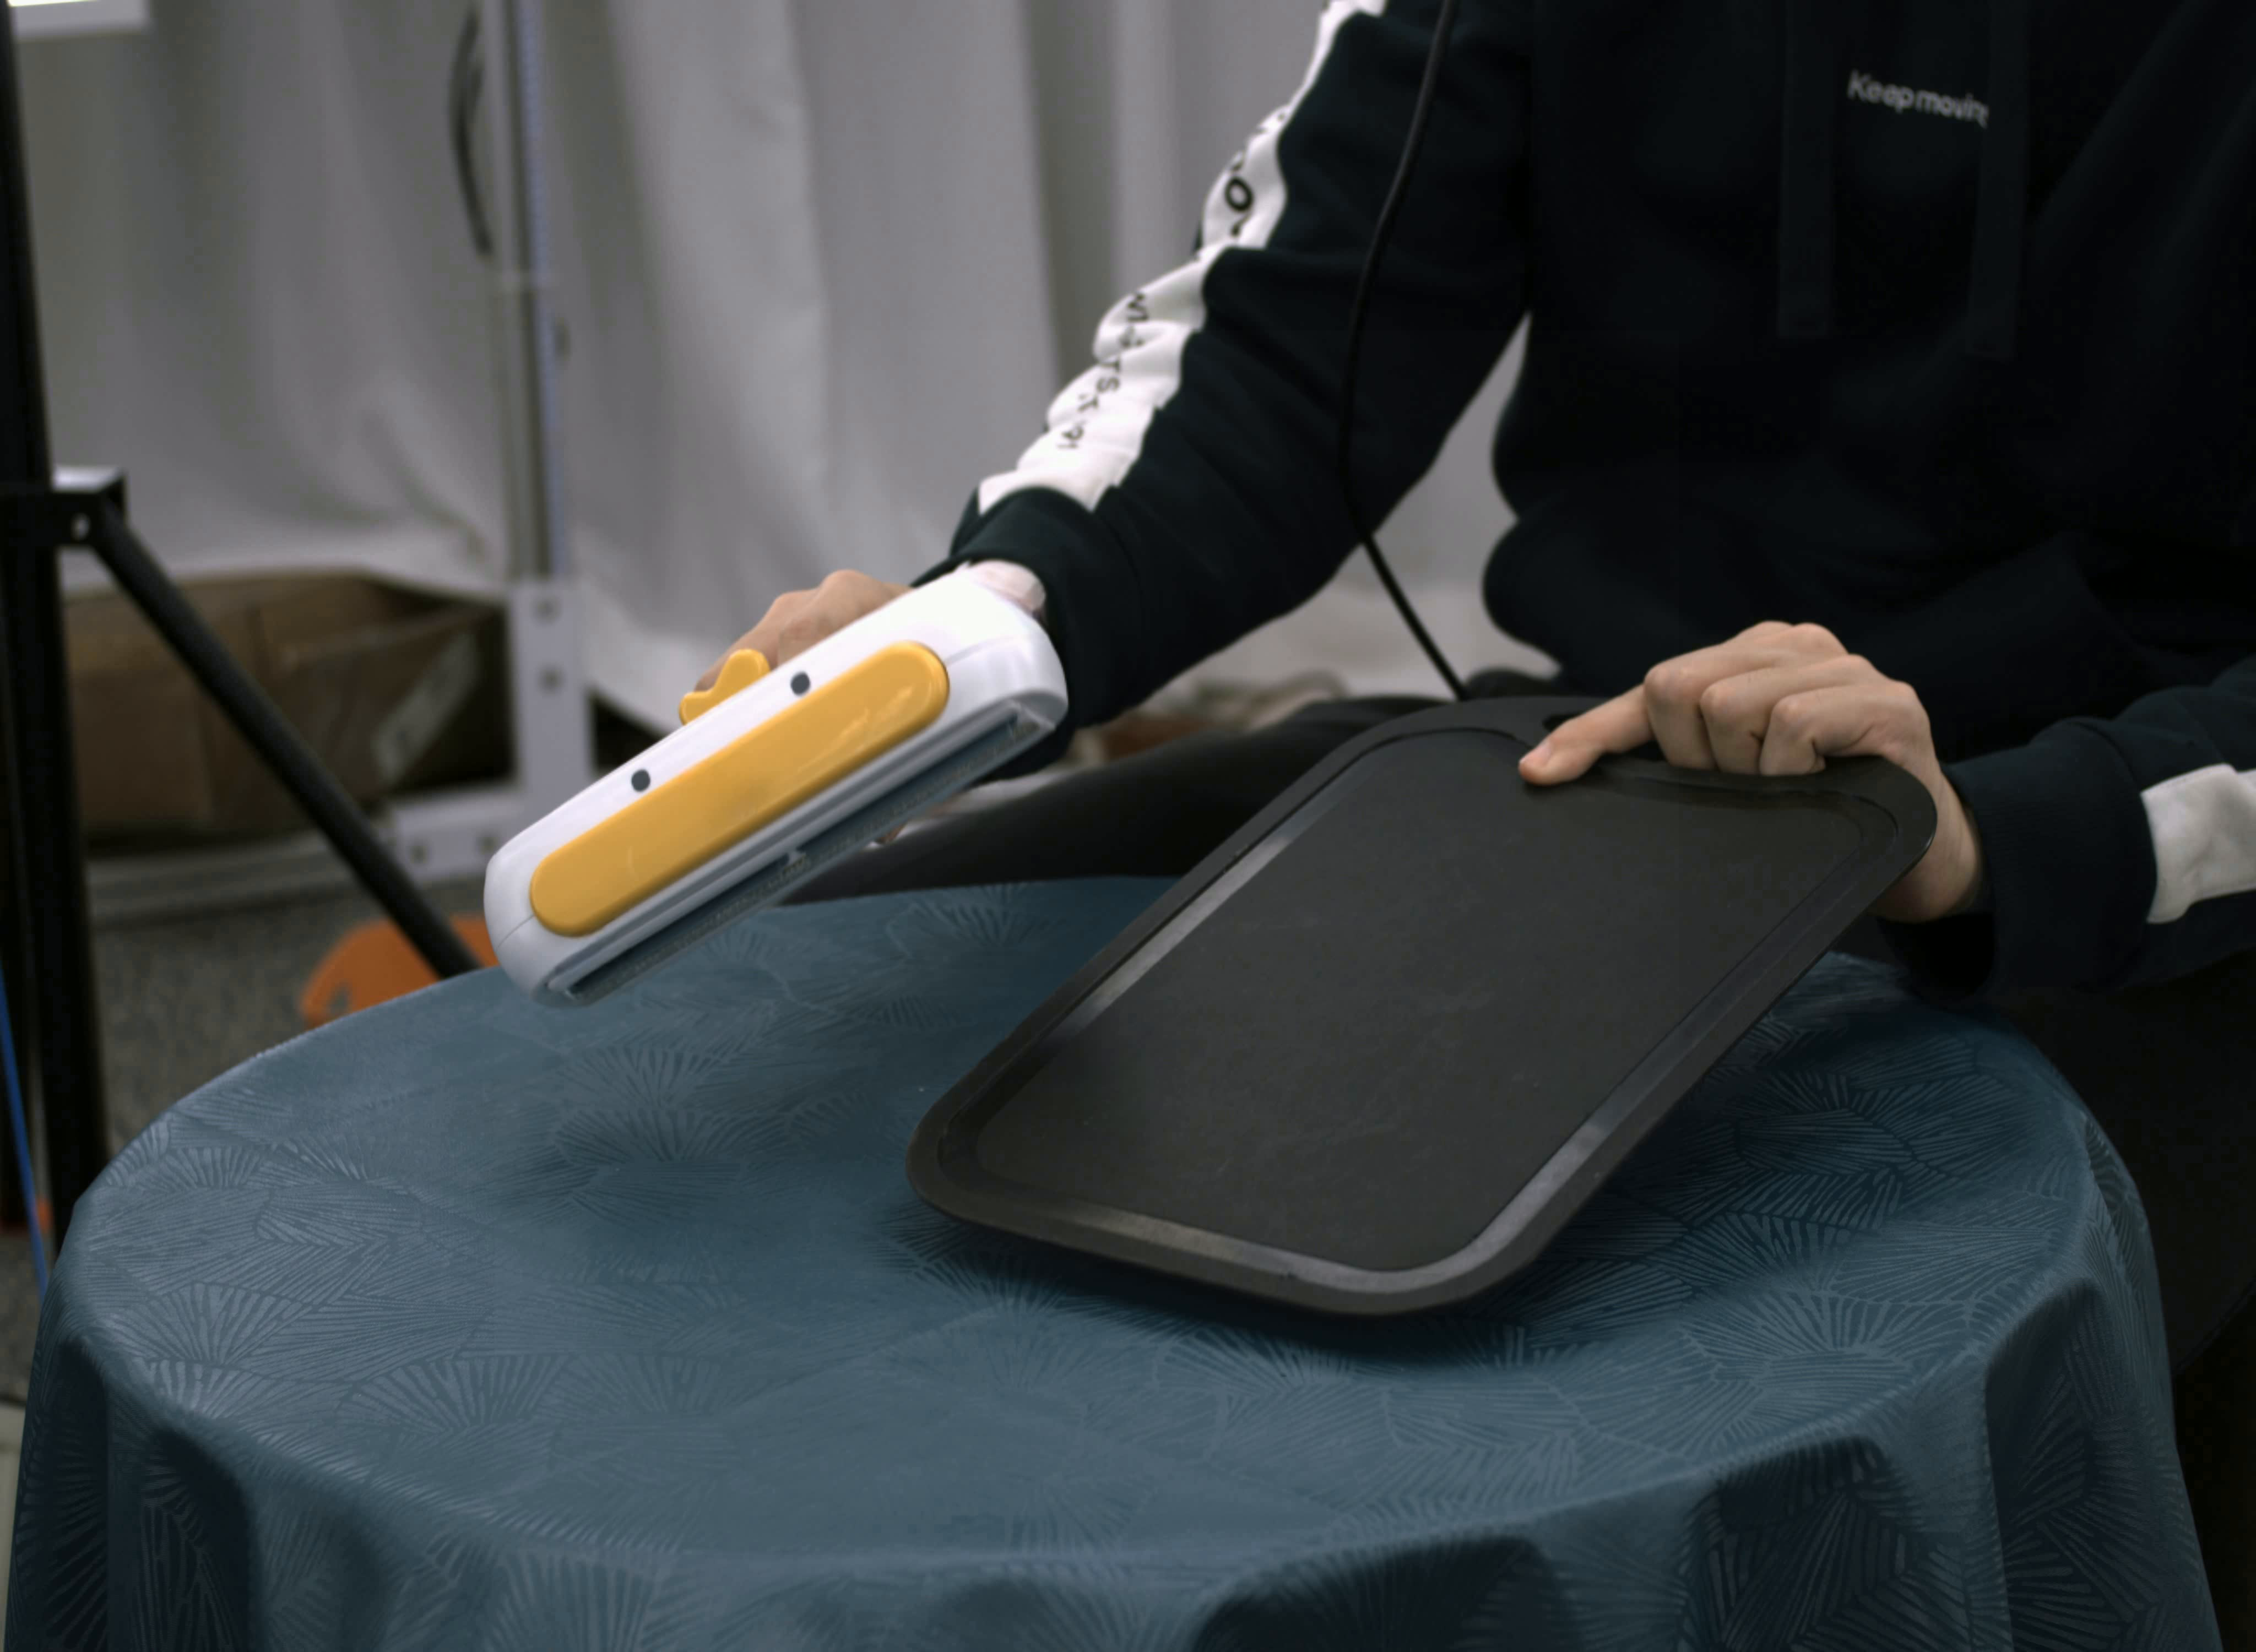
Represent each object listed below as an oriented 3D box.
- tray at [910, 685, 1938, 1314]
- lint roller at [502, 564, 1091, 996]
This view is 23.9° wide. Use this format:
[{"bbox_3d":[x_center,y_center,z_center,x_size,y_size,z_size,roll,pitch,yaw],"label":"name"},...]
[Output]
[{"bbox_3d":[0.094,0.039,1.561,0.215,0.010,0.321,11,37,37],"label":"tray"},{"bbox_3d":[-0.096,-0.015,1.665,0.193,0.075,0.190,-34,-8,7],"label":"lint roller"}]
